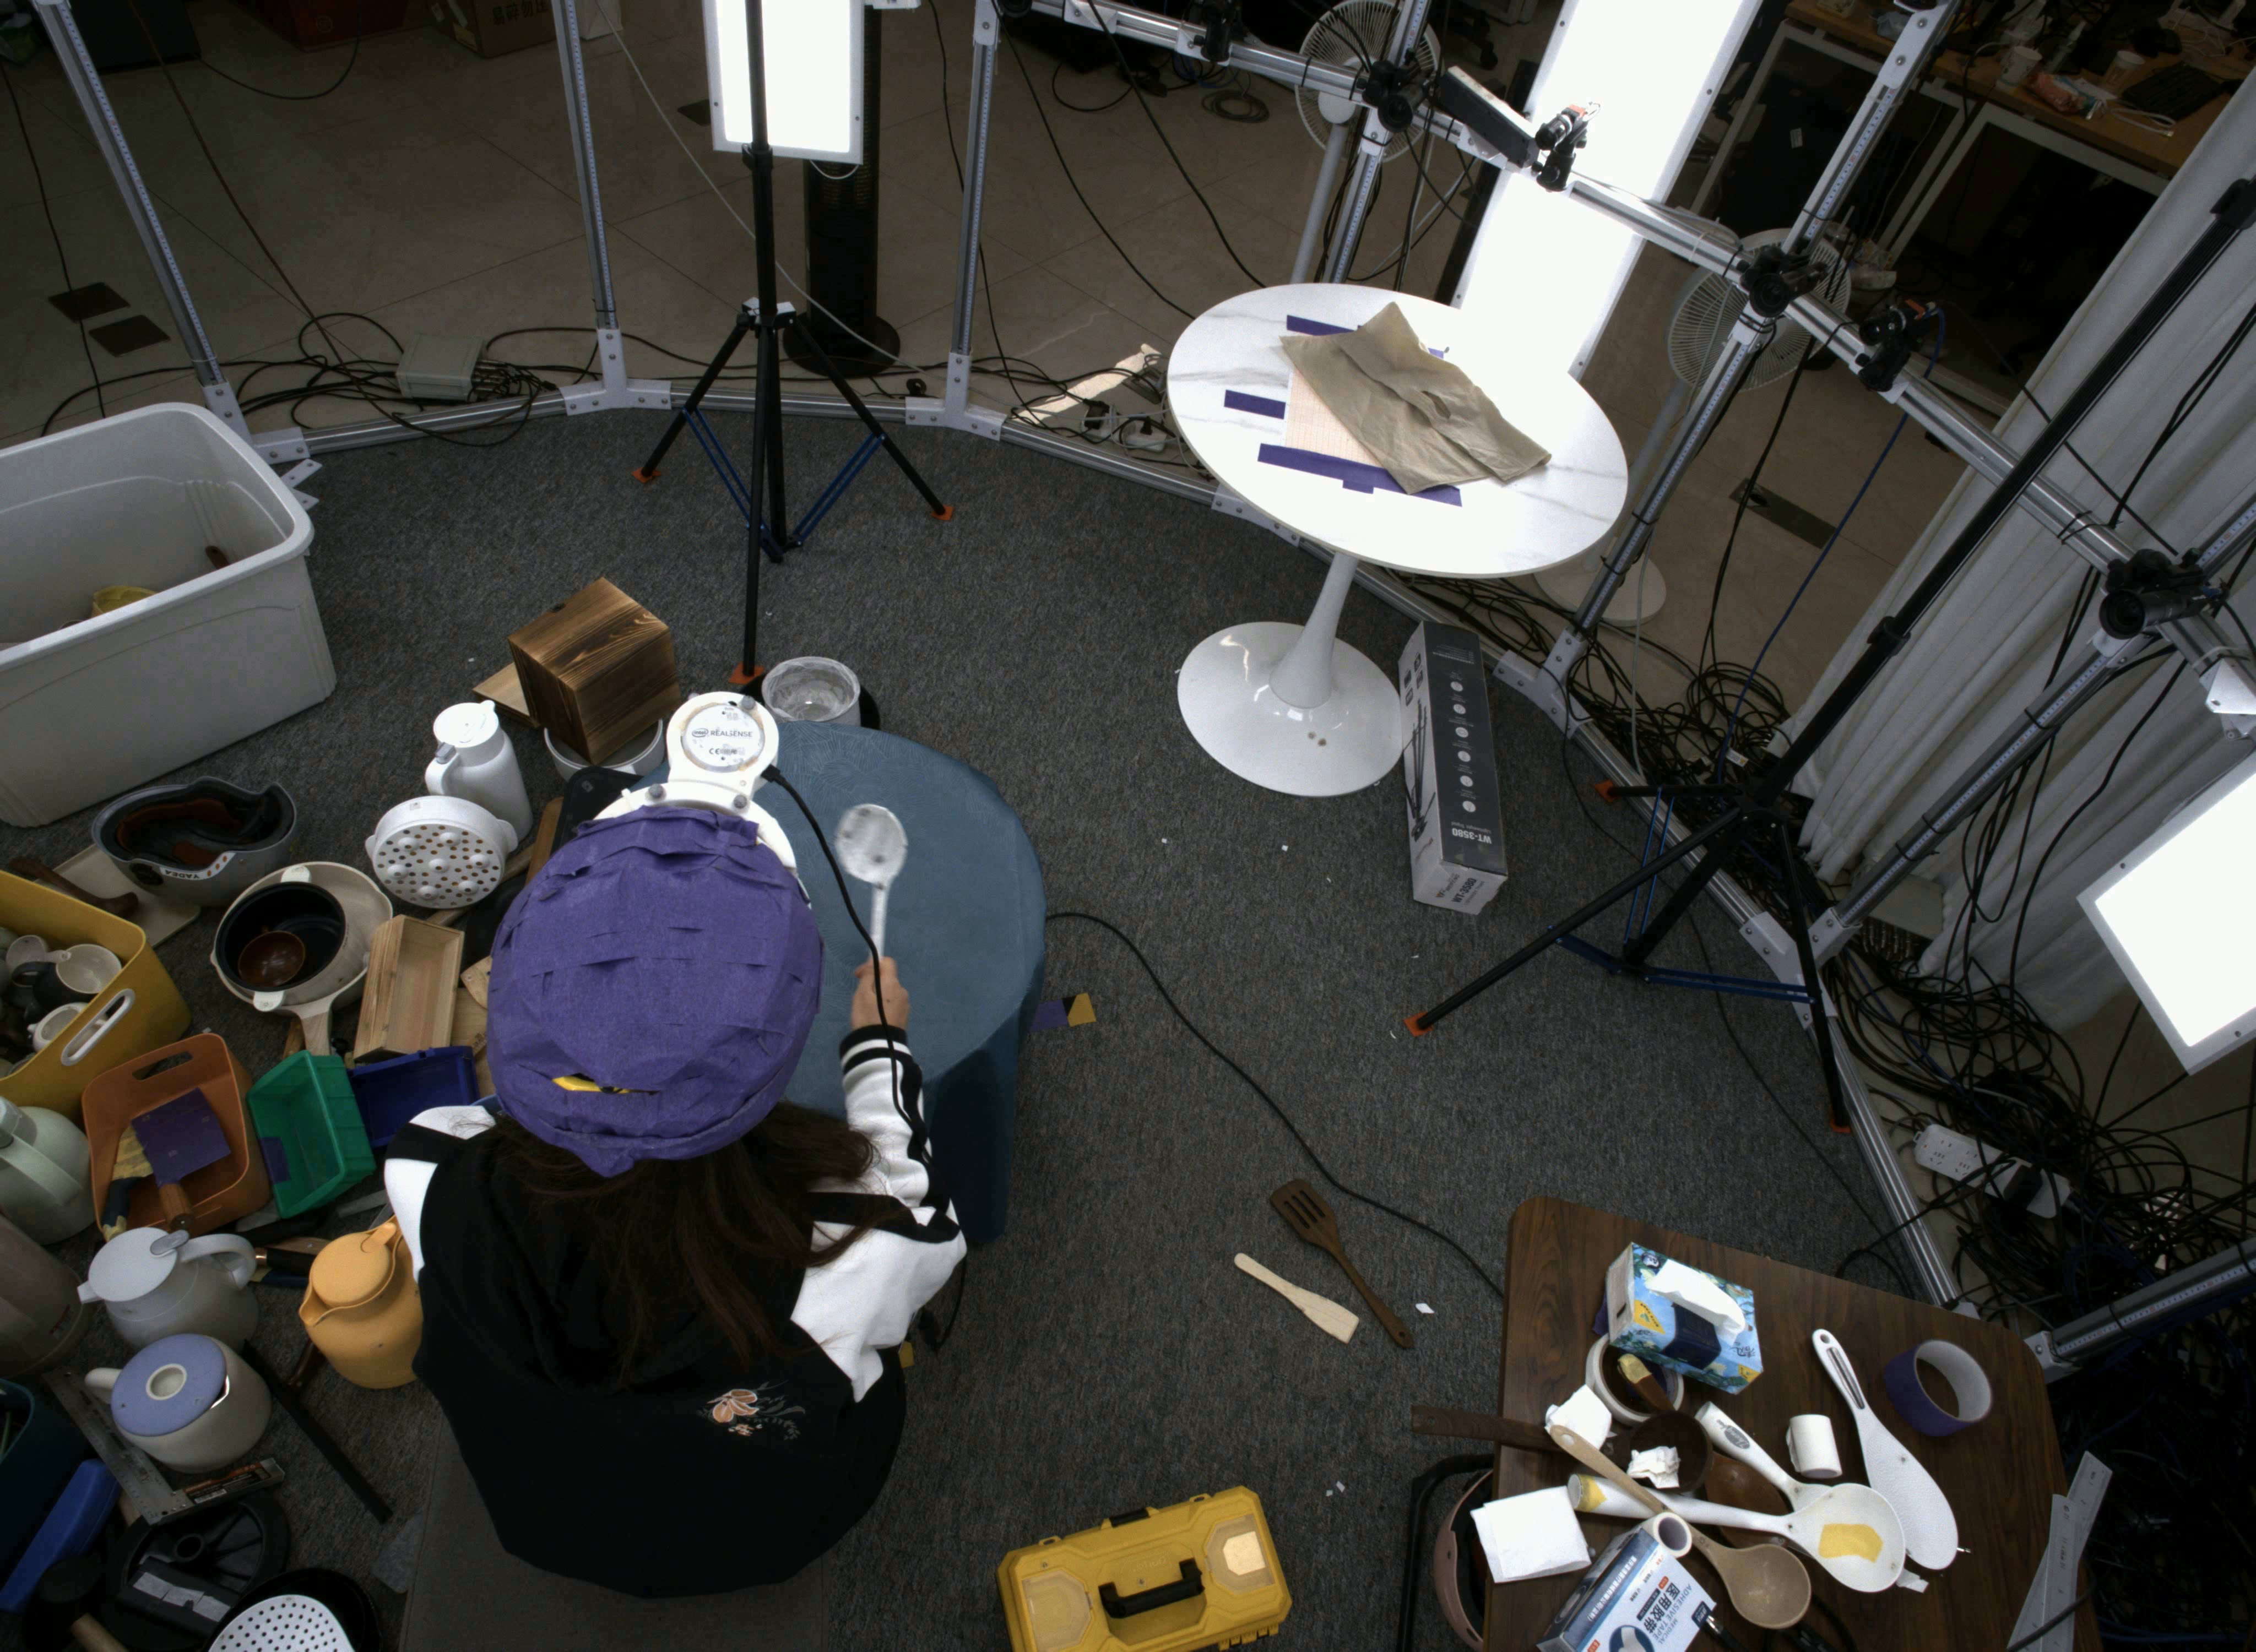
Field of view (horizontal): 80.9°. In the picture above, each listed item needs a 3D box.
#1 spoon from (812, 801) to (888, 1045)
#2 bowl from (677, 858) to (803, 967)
[{"bbox_3d":[-0.323,0.105,1.473,0.098,0.061,0.274,-13,61,23],"label":"spoon"},{"bbox_3d":[-0.474,0.114,1.586,0.151,0.060,0.149,8,52,-8],"label":"bowl"}]
